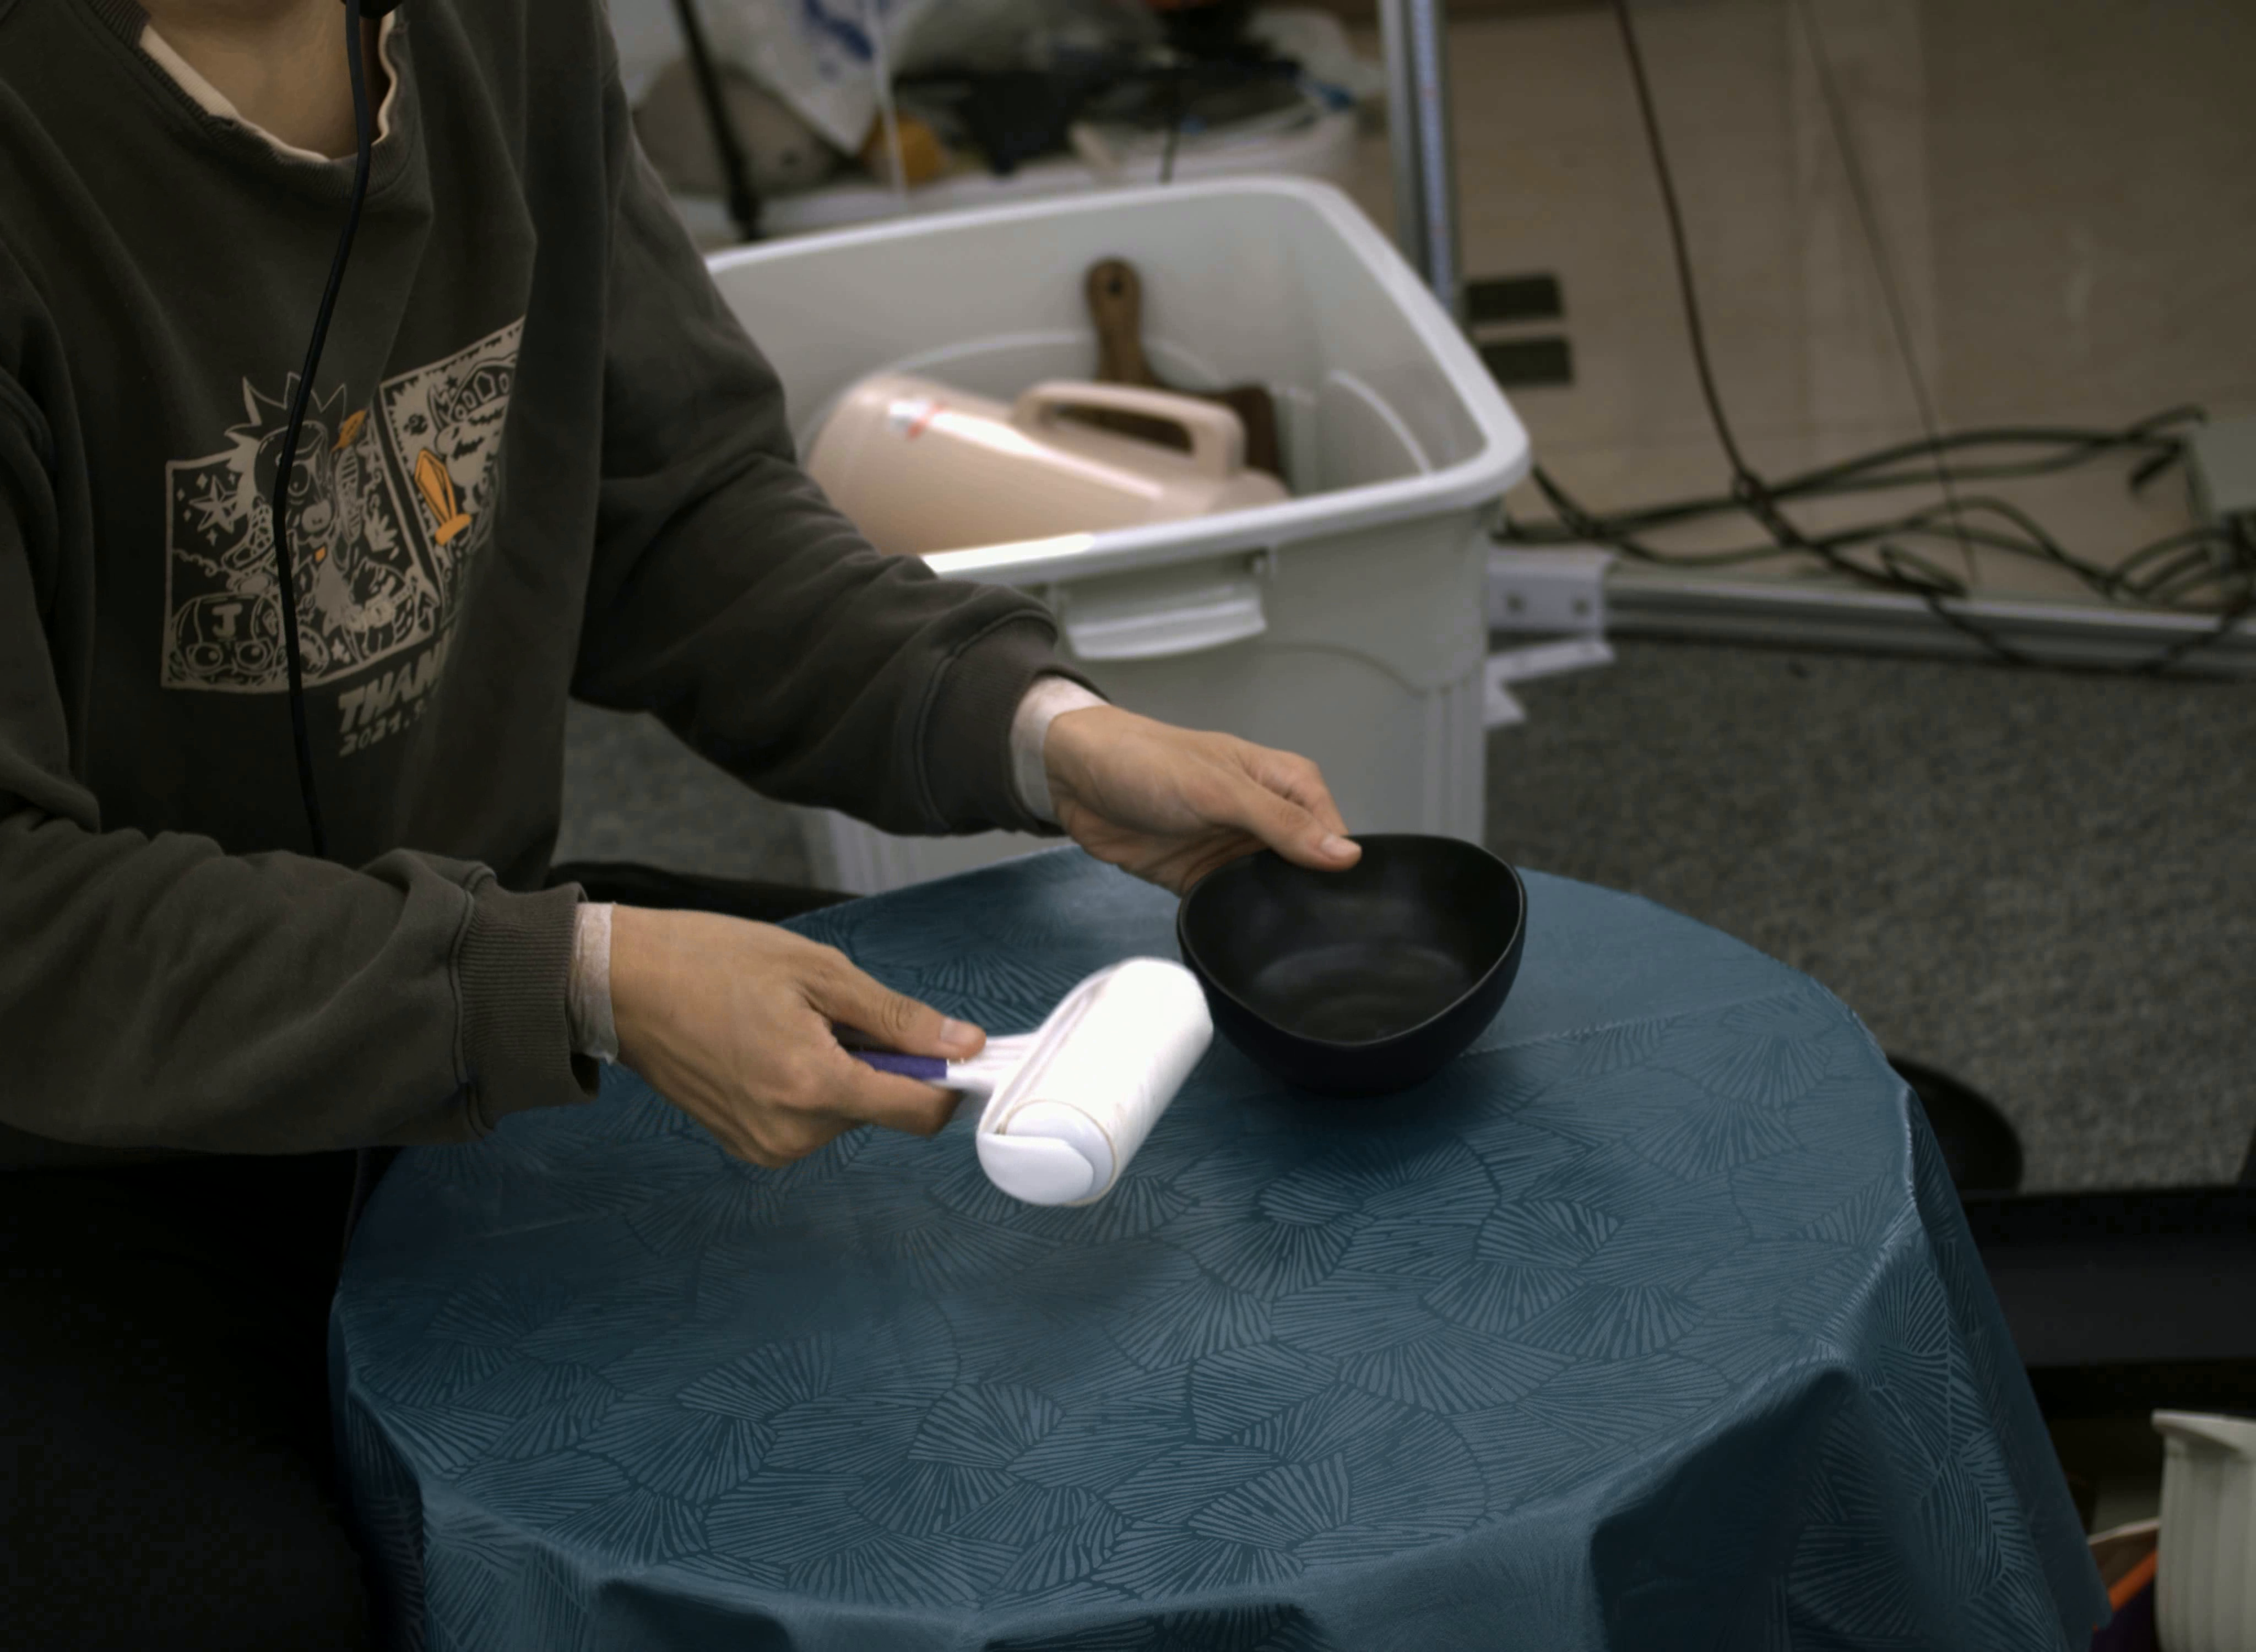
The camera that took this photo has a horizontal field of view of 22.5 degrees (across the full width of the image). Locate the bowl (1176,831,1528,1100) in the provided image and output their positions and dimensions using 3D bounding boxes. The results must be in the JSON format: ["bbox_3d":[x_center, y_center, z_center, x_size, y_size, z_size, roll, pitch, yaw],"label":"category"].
[{"bbox_3d":[0.091,0.062,2.213,0.137,0.068,0.167,-8,27,0],"label":"bowl"}]

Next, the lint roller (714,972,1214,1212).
[{"bbox_3d":[-0.068,0.079,2.079,0.180,0.051,0.131,16,34,17],"label":"lint roller"}]
